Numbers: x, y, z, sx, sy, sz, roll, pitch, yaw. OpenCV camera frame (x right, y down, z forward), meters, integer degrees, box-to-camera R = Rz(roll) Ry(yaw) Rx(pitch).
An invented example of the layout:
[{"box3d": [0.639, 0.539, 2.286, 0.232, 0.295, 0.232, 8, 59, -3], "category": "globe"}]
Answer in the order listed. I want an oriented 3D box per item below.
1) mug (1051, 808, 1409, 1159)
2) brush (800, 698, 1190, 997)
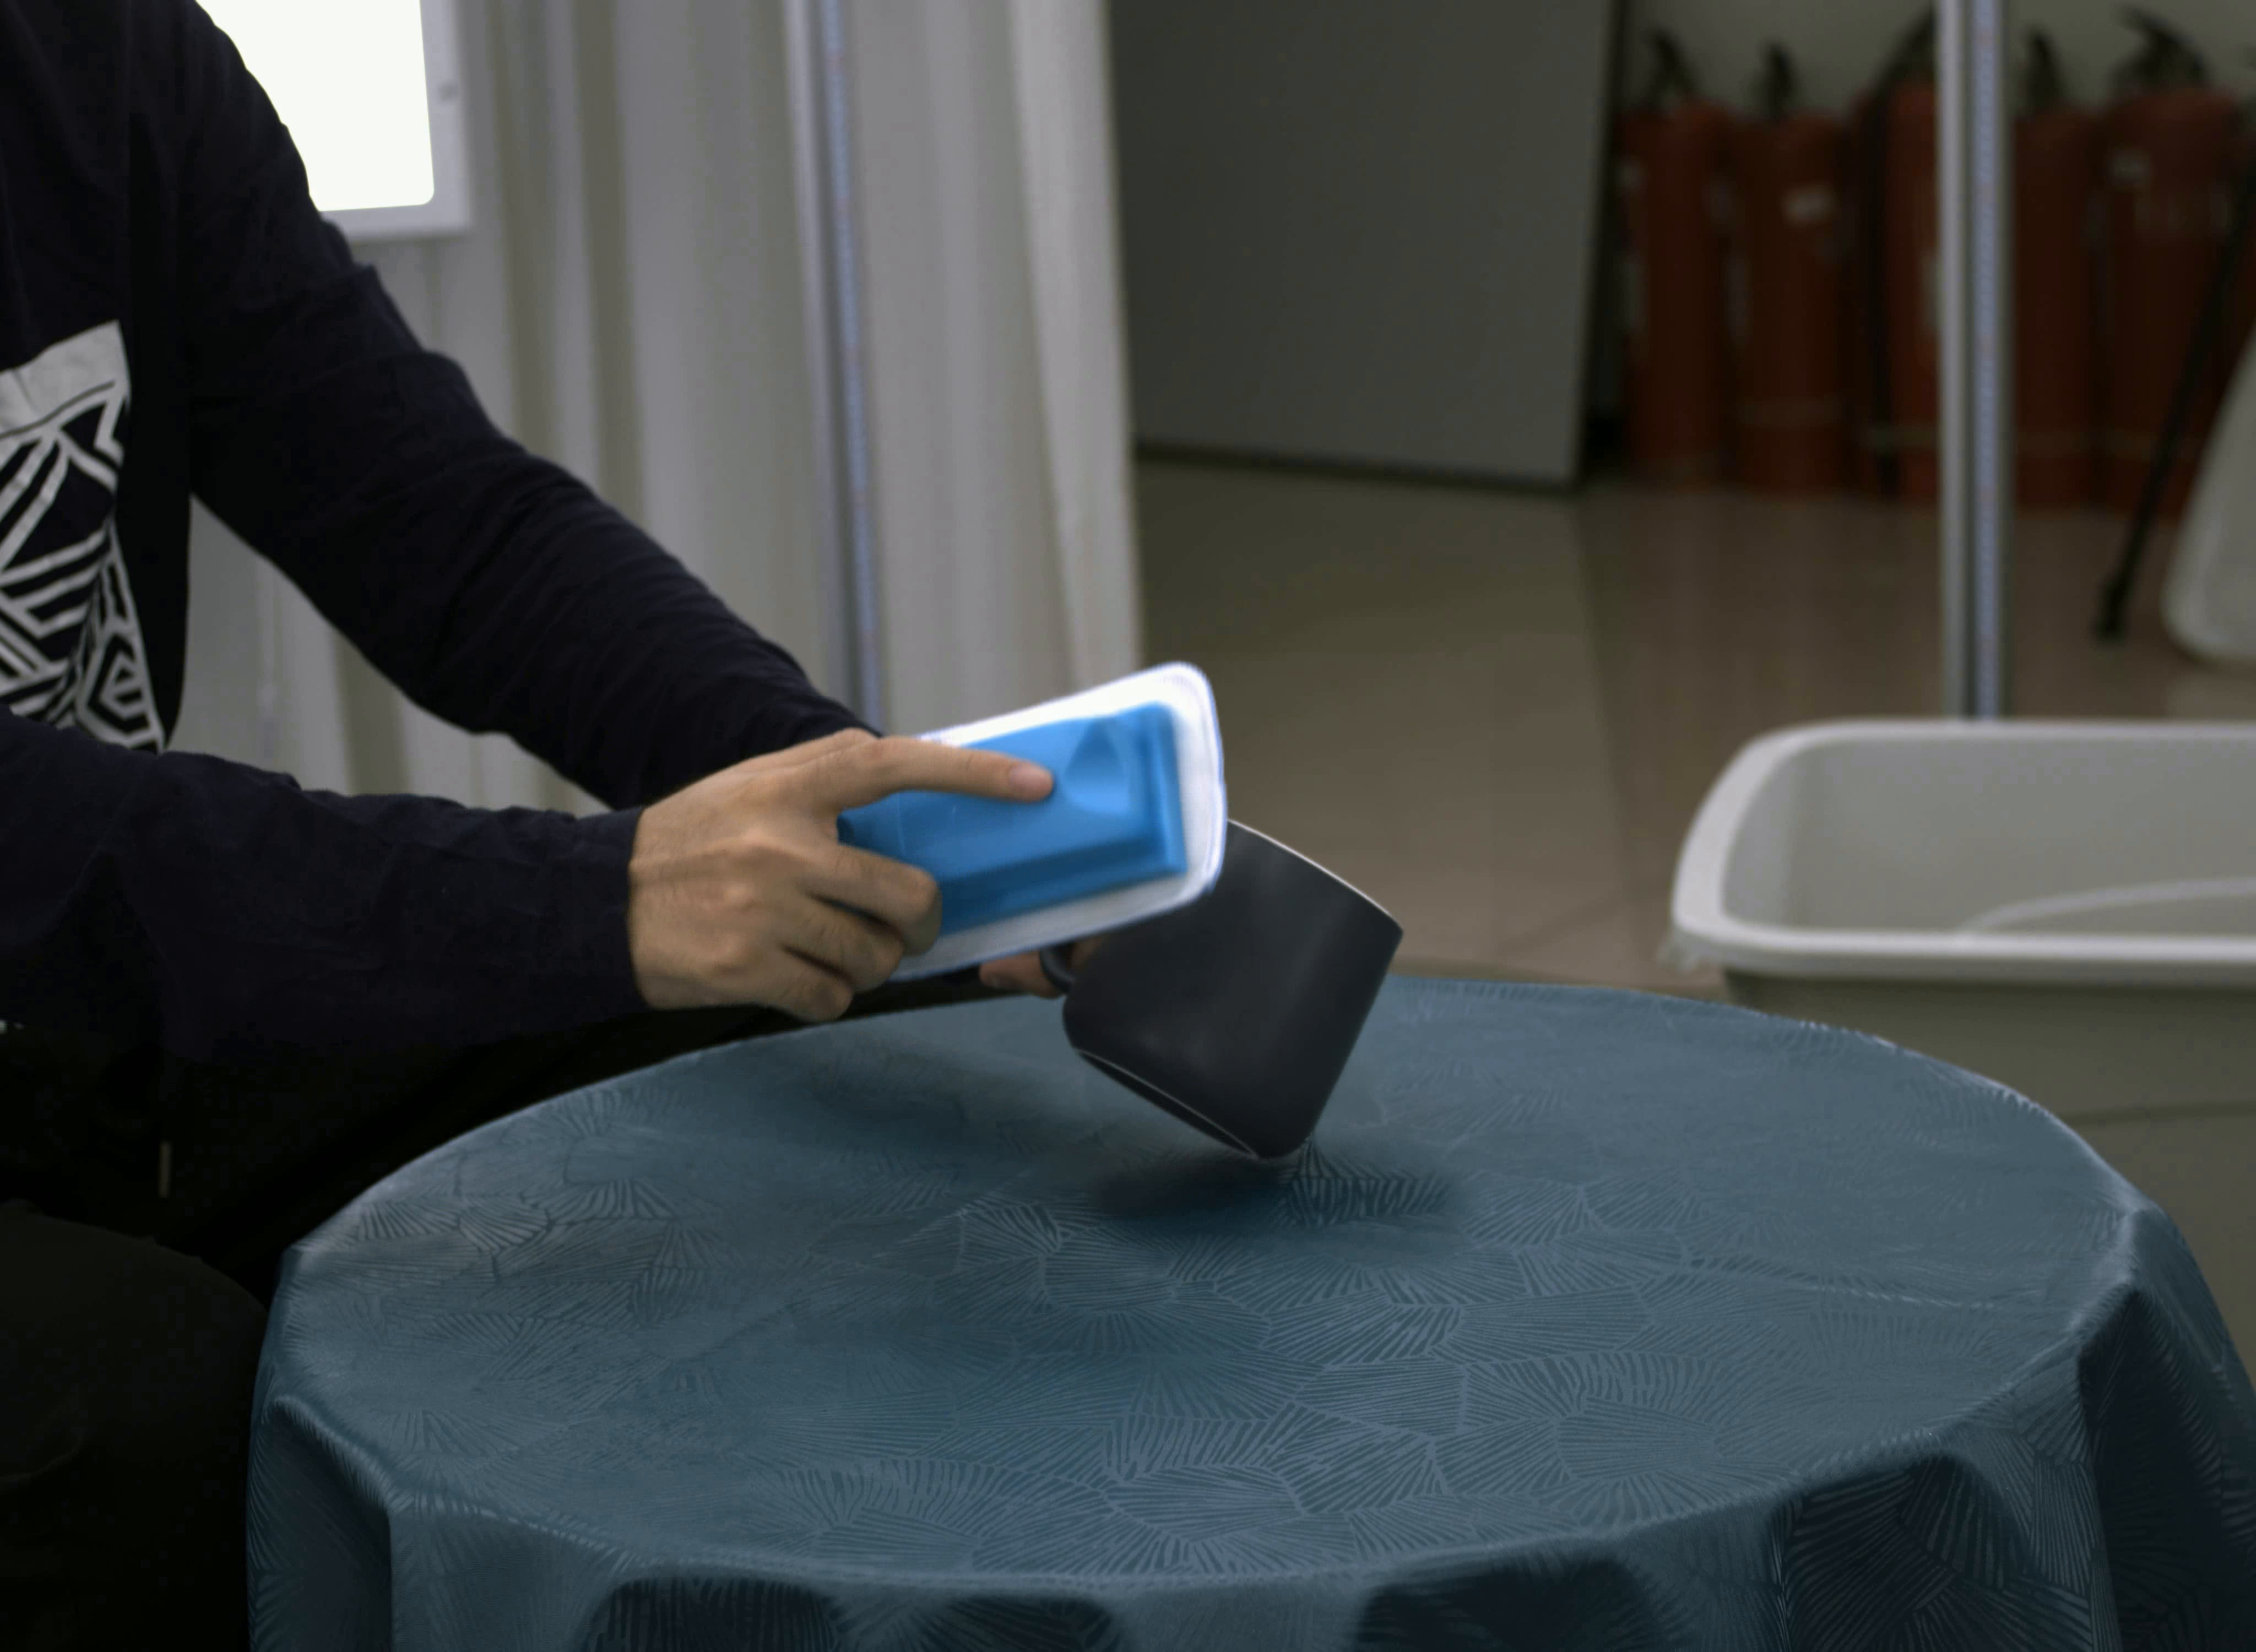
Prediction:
[{"box3d": [0.026, 0.047, 1.790, 0.124, 0.090, 0.092, 27, -8, 37], "category": "mug"}, {"box3d": [-0.049, 0.001, 1.699, 0.144, 0.085, 0.055, -12, -24, 29], "category": "brush"}]
